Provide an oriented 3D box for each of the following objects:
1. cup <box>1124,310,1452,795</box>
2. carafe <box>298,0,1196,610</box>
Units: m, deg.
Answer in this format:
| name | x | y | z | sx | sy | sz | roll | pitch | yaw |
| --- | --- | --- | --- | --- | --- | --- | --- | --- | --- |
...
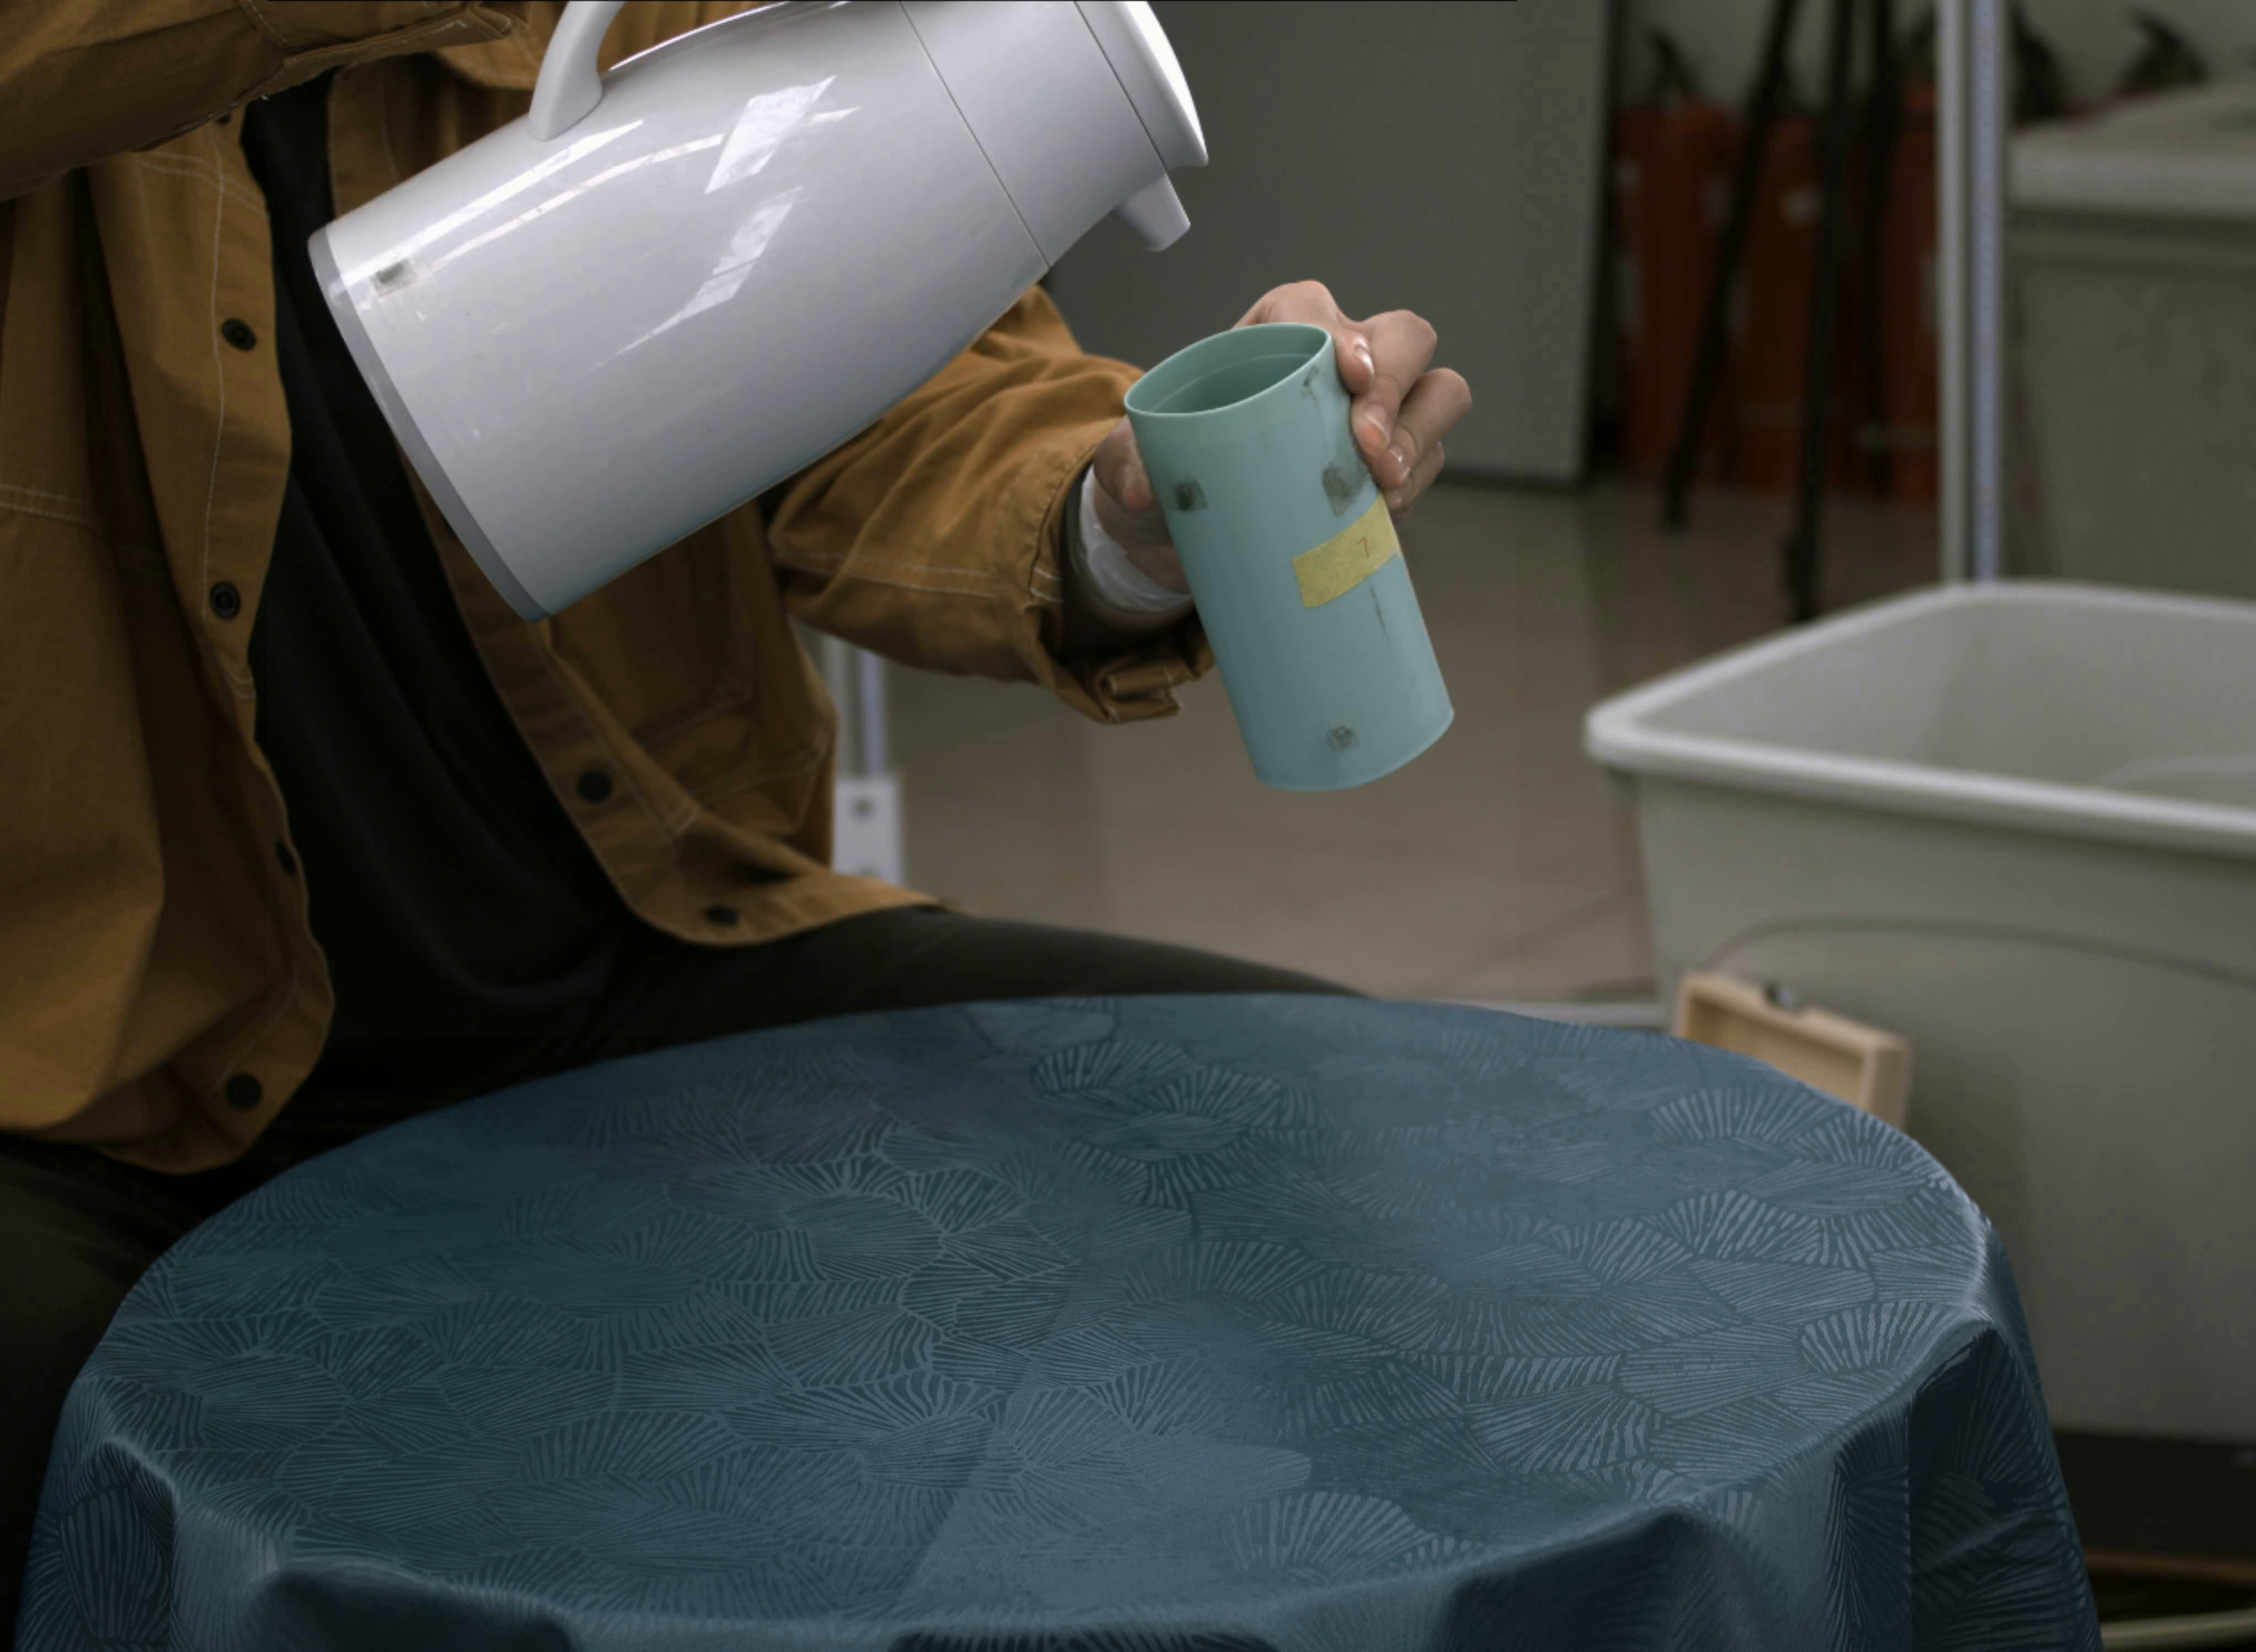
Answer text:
| name | x | y | z | sx | sy | sz | roll | pitch | yaw |
| --- | --- | --- | --- | --- | --- | --- | --- | --- | --- |
| cup | 0.049 | -0.083 | 1.635 | 0.066 | 0.133 | 0.067 | -17 | 22 | 6 |
| carafe | -0.110 | -0.195 | 1.564 | 0.247 | 0.167 | 0.133 | -30 | 29 | 4 |
